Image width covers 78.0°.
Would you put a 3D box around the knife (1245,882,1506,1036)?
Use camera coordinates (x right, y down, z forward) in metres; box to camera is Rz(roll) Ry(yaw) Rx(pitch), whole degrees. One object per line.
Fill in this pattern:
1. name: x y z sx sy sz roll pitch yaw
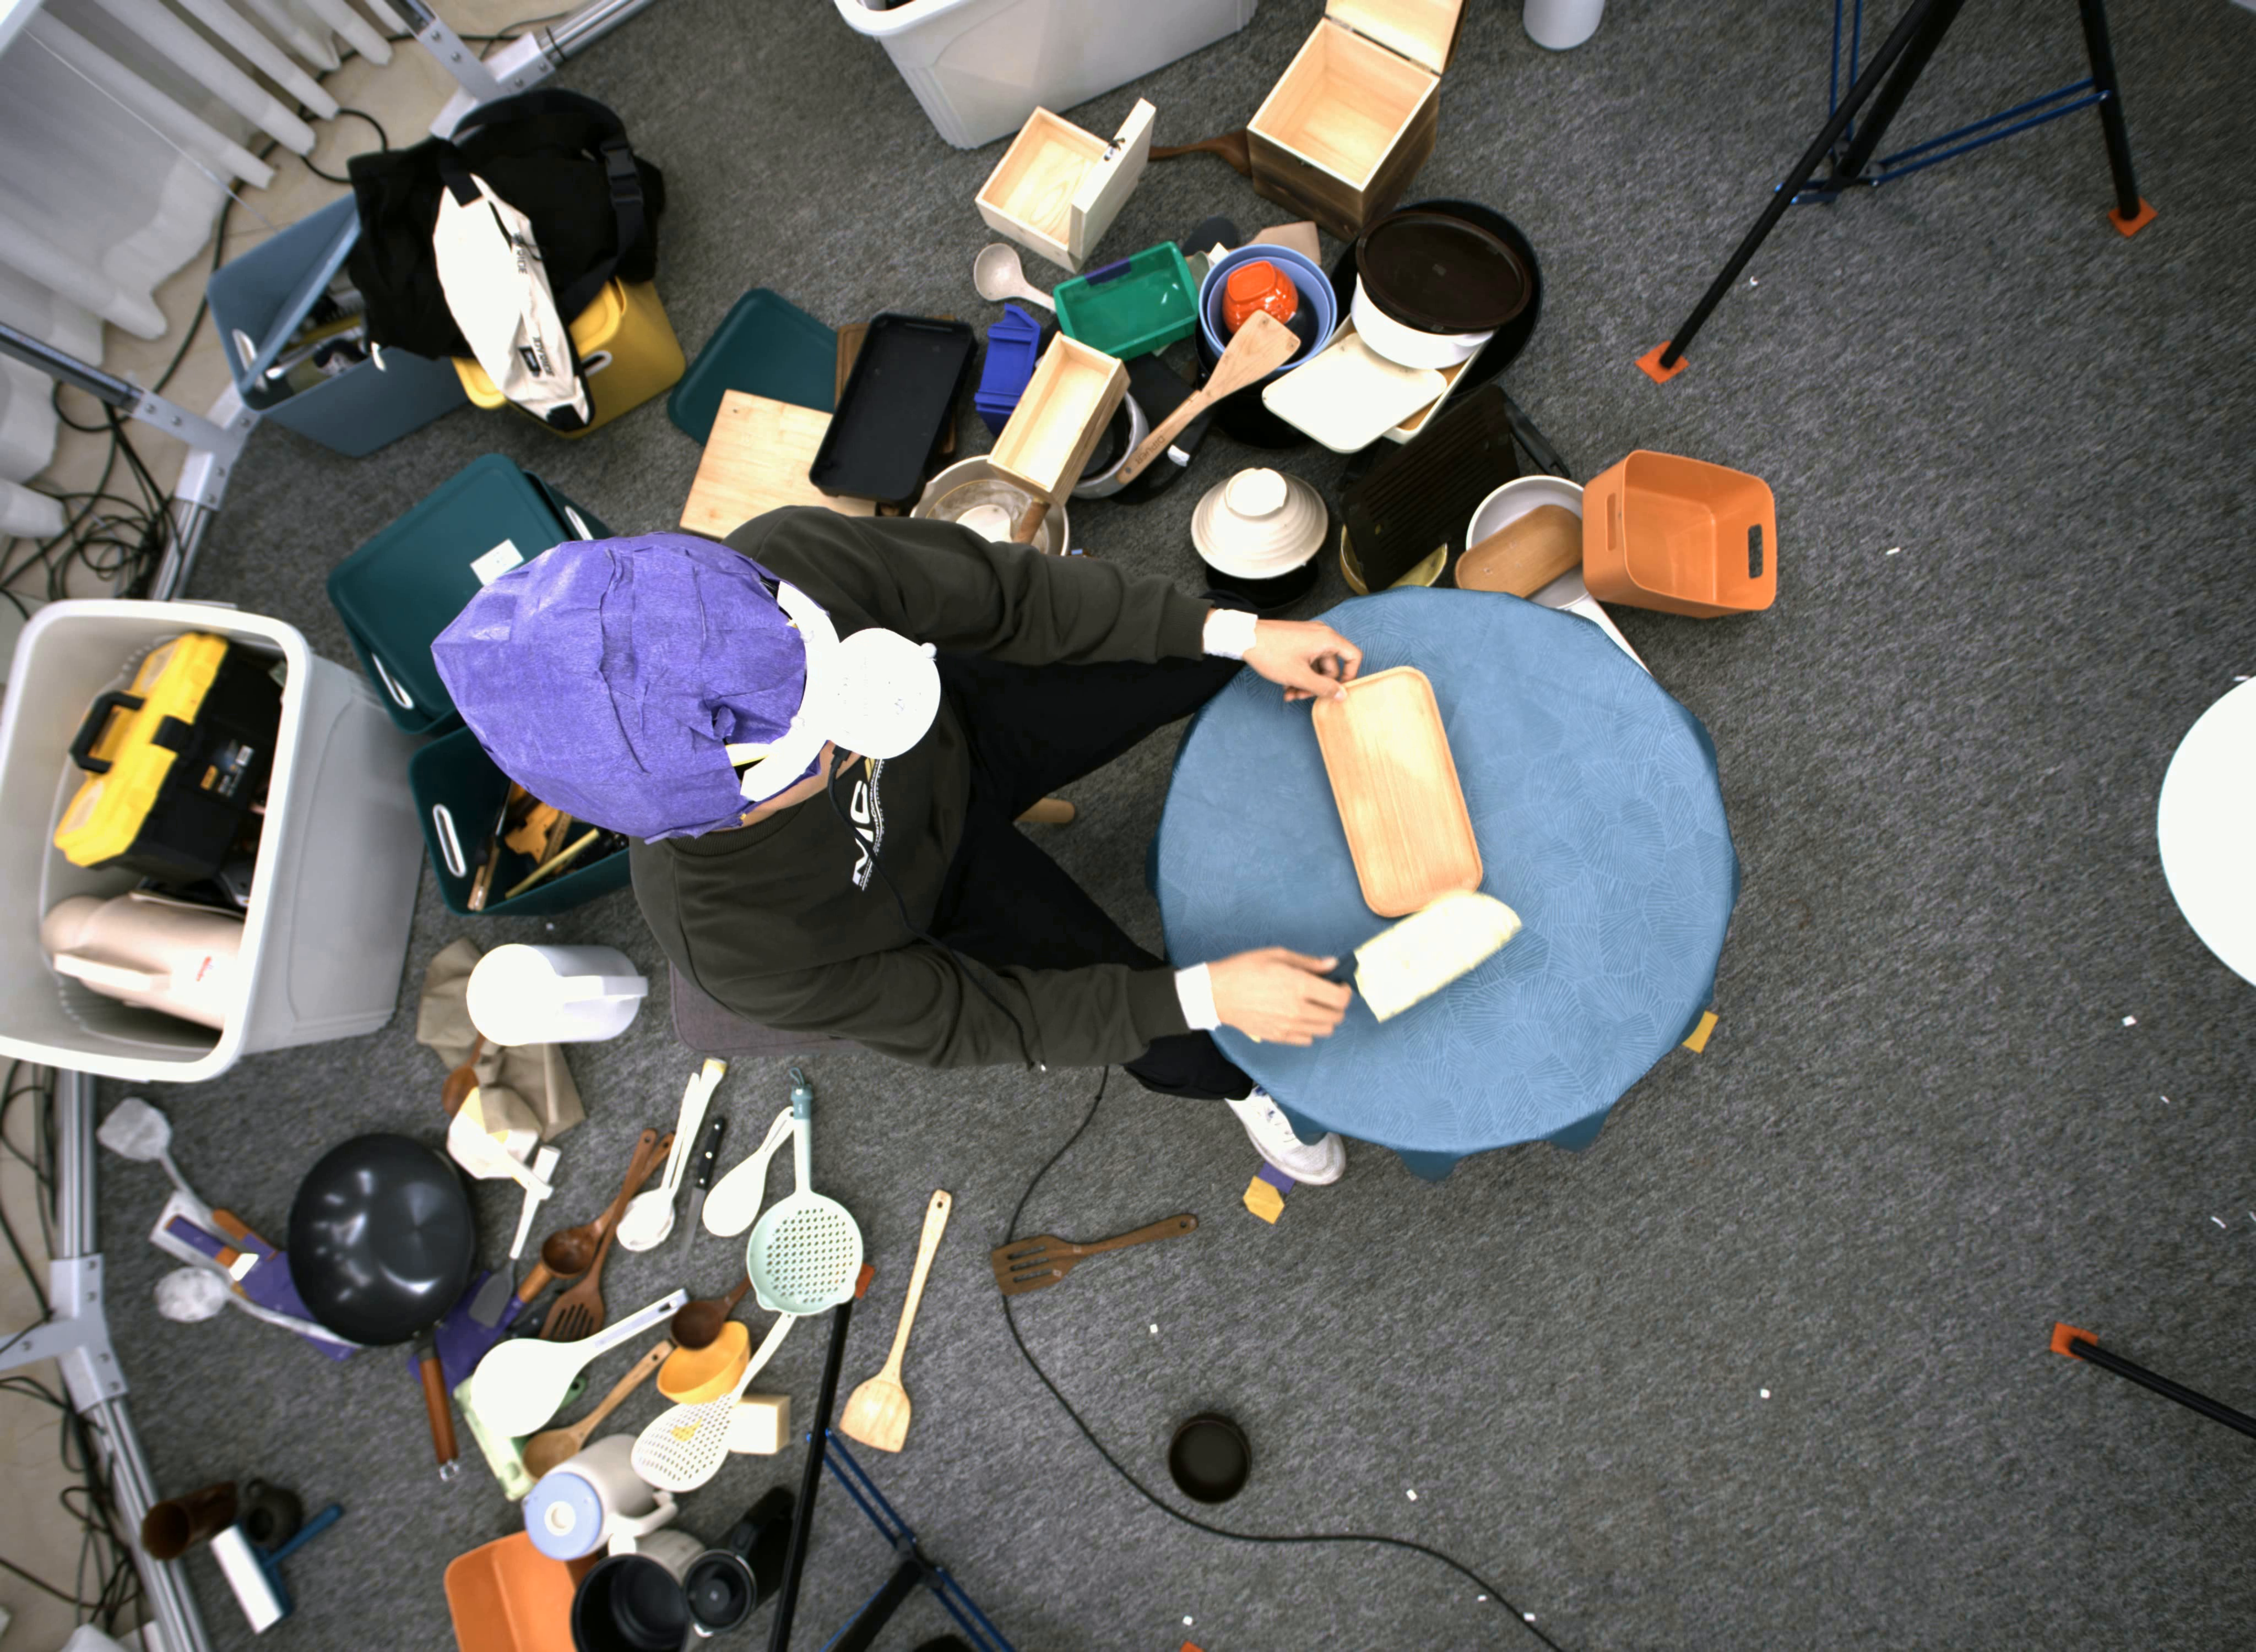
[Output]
1. knife: 0.249 0.141 1.382 0.291 0.027 0.081 -30 95 8

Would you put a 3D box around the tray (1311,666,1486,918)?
1. tray: 0.281 -0.036 1.431 0.131 0.022 0.252 -16 97 12
